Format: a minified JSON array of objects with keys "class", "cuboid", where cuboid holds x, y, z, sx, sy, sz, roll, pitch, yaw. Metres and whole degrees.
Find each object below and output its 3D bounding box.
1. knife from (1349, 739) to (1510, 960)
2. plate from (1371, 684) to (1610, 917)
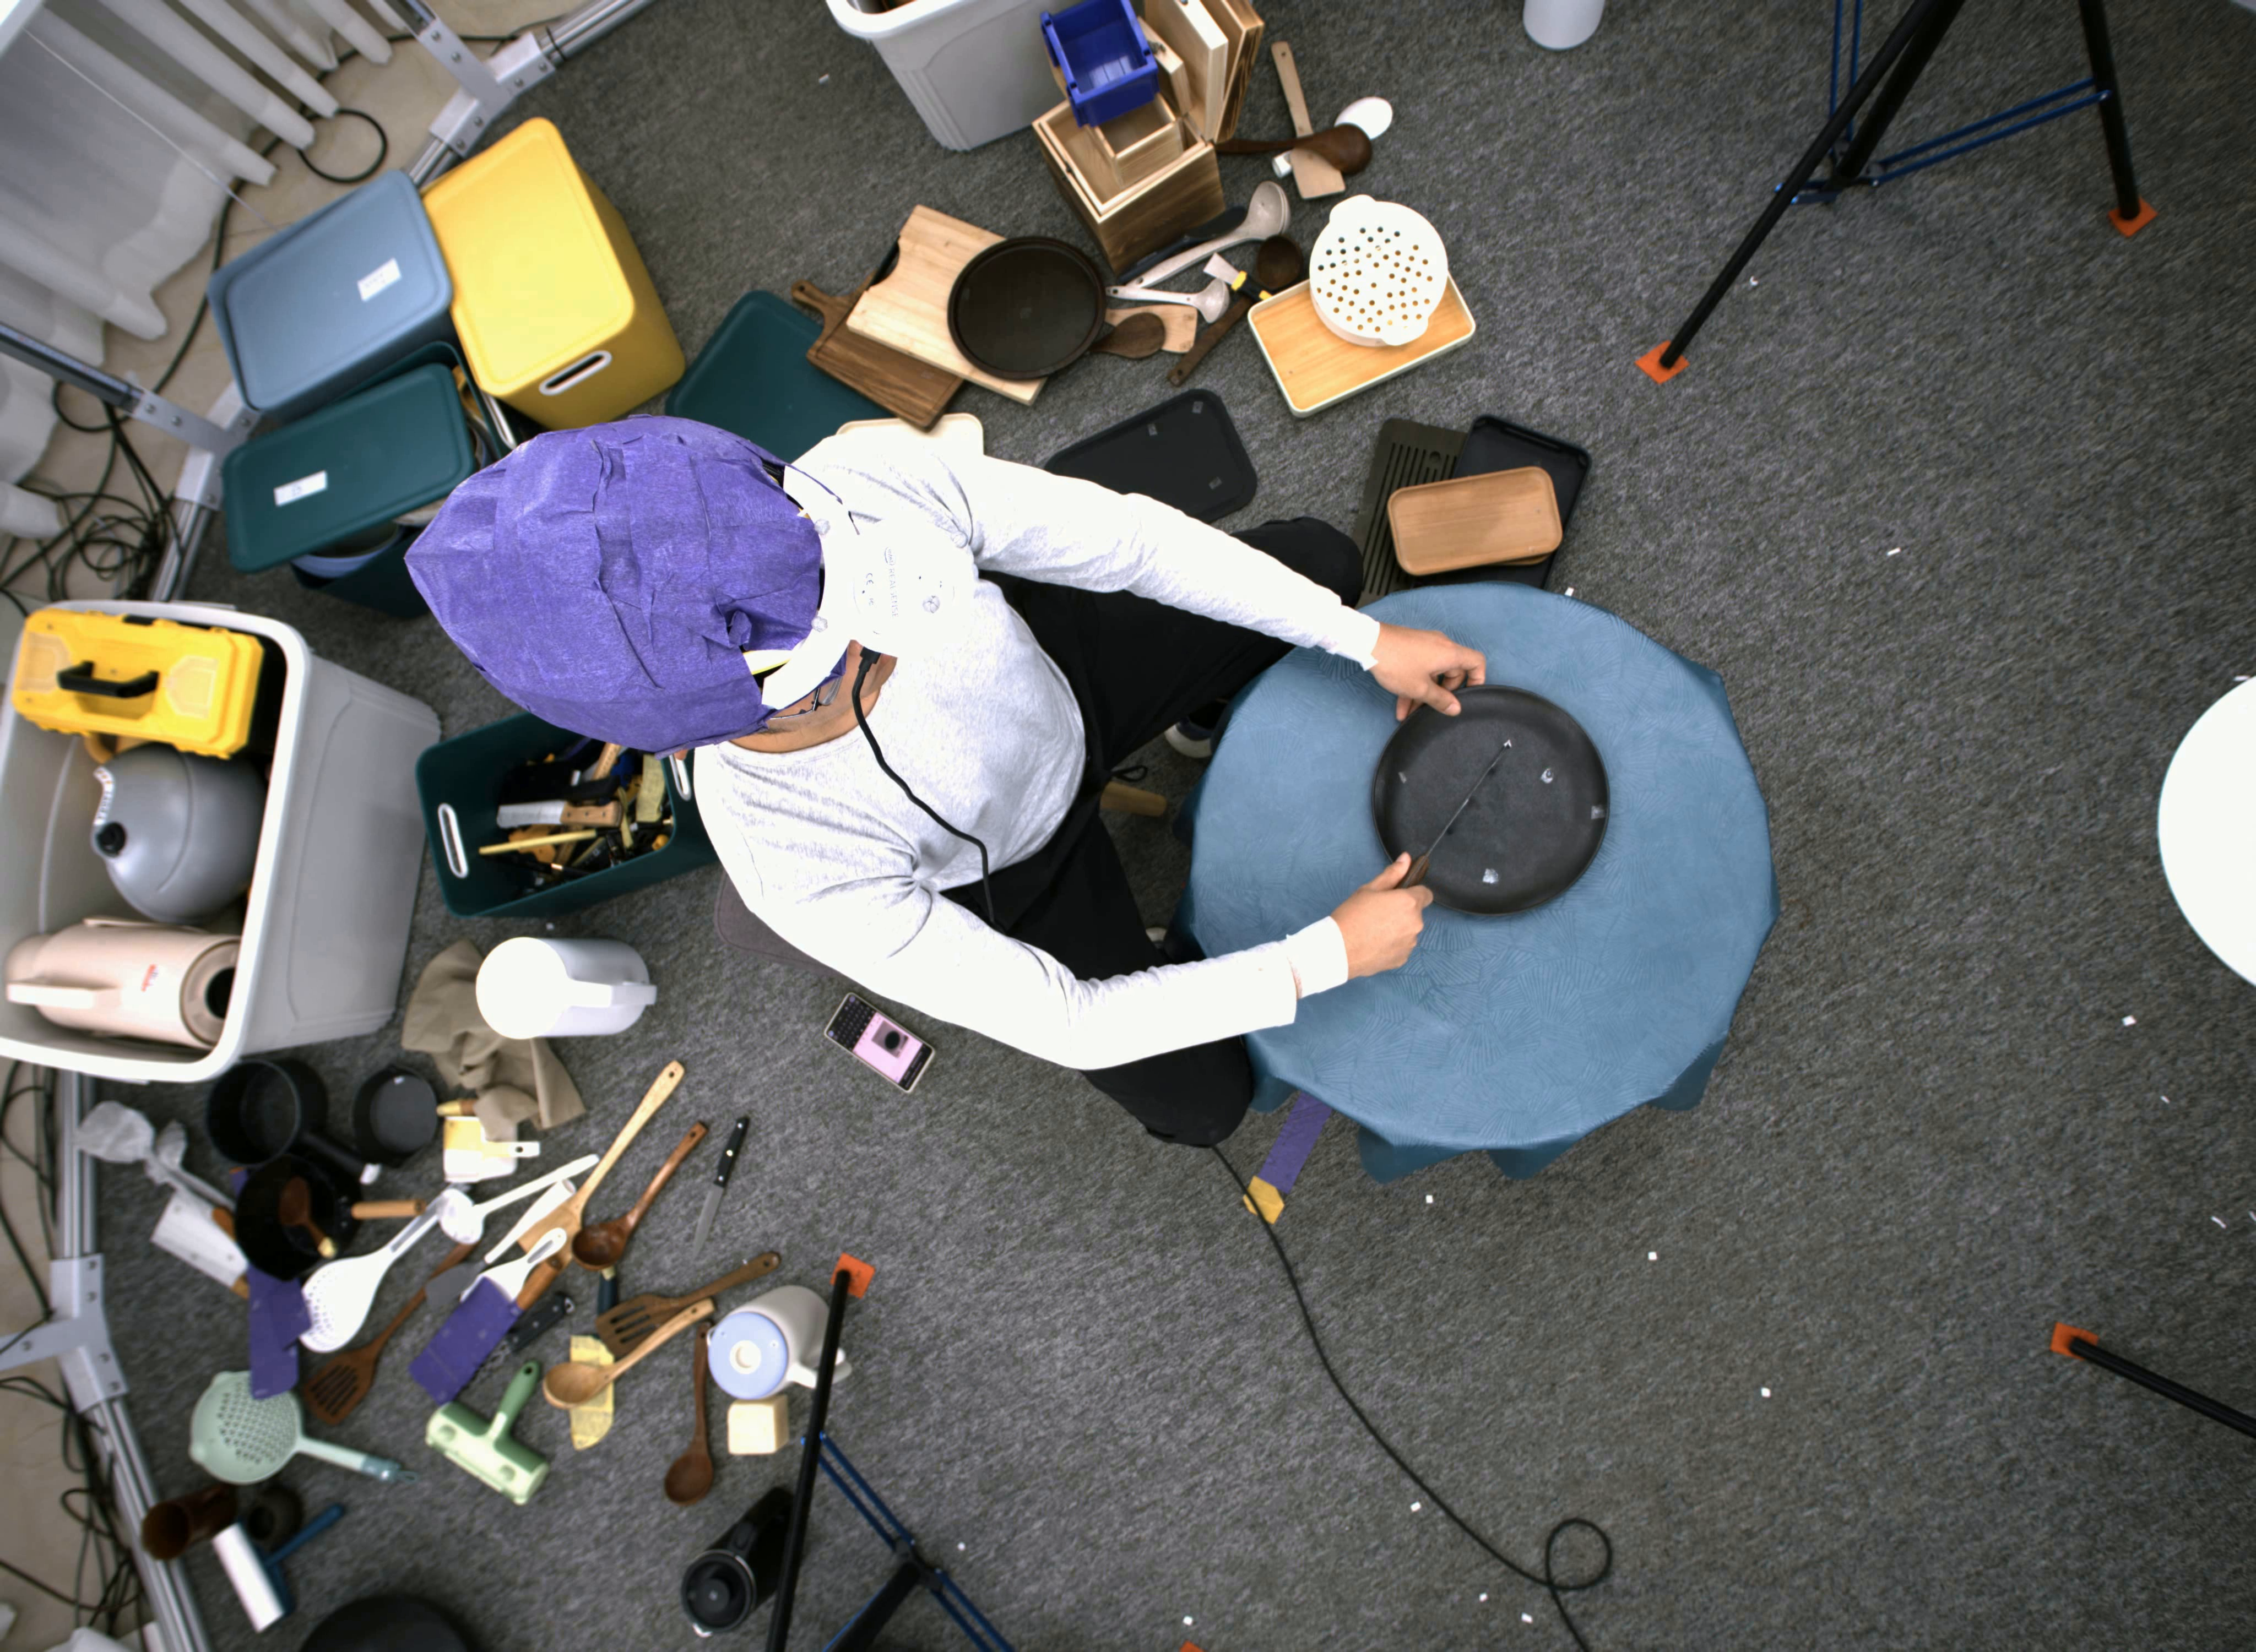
[{"class":"knife","cuboid":[0.312,0.018,1.406,0.020,0.051,0.287,36,81,9]},{"class":"plate","cuboid":[0.377,-0.029,1.434,0.245,0.023,0.243,-1,87,11]}]
